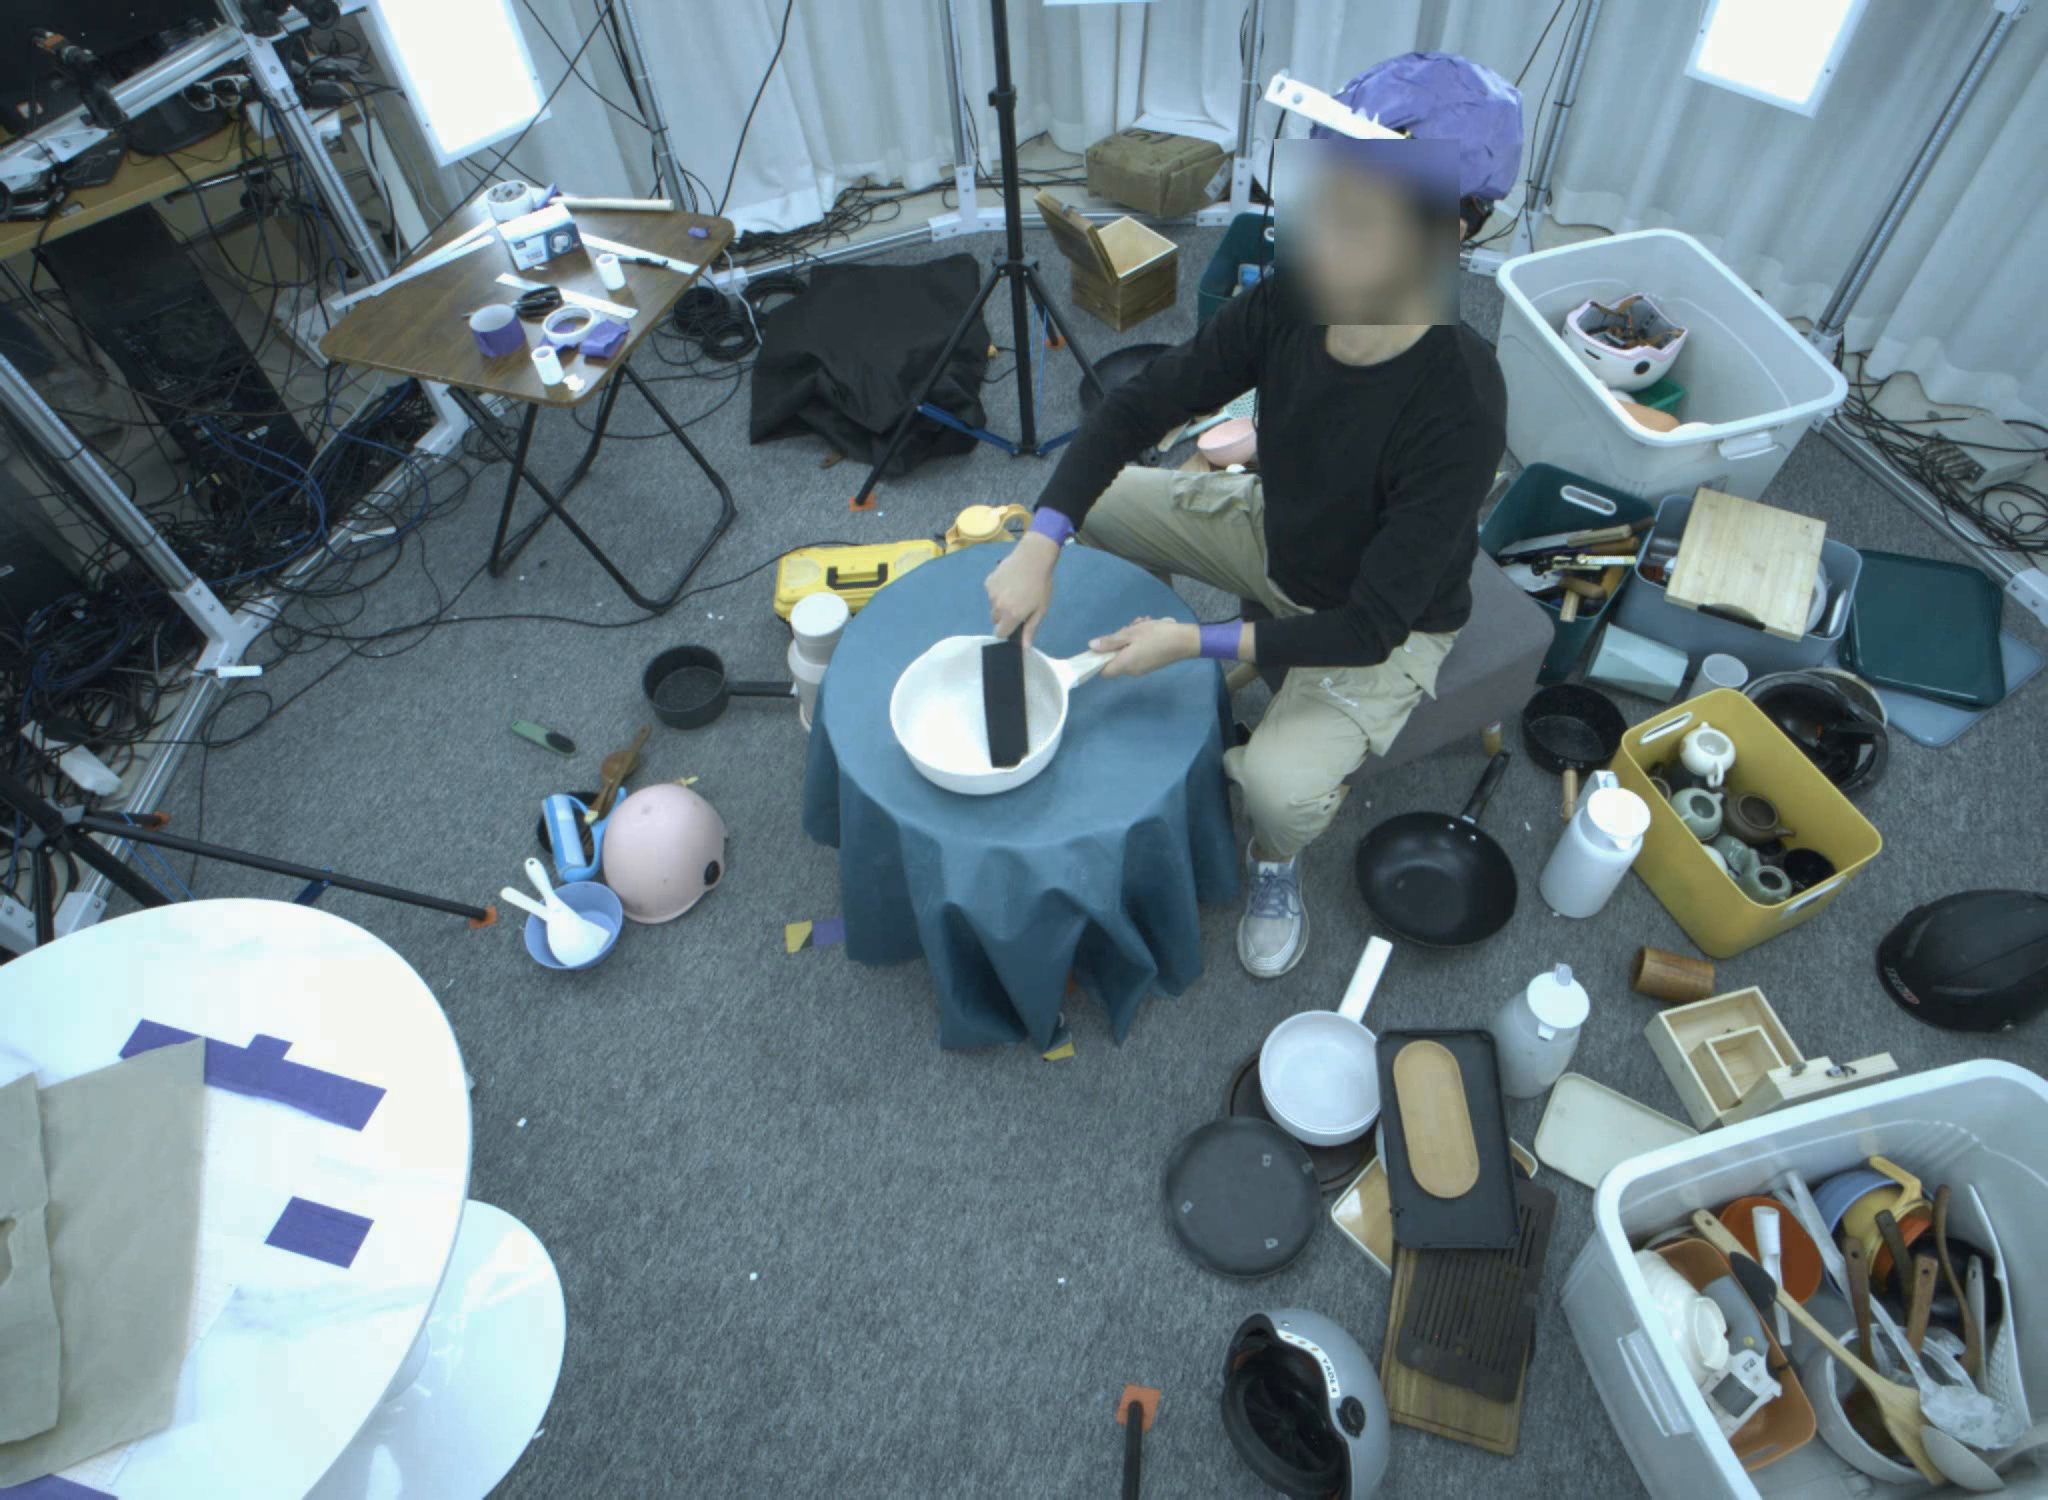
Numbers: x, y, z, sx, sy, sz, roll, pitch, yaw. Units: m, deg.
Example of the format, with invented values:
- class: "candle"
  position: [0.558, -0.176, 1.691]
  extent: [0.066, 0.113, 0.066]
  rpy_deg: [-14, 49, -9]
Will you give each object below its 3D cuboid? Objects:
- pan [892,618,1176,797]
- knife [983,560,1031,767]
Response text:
- class: "pan"
  position: [0.024, -0.078, 1.777]
  extent: [0.438, 0.103, 0.258]
  rpy_deg: [-21, 55, -13]
- class: "knife"
  position: [-0.024, -0.126, 1.765]
  extent: [0.080, 0.021, 0.301]
  rpy_deg: [-1, 85, 23]
